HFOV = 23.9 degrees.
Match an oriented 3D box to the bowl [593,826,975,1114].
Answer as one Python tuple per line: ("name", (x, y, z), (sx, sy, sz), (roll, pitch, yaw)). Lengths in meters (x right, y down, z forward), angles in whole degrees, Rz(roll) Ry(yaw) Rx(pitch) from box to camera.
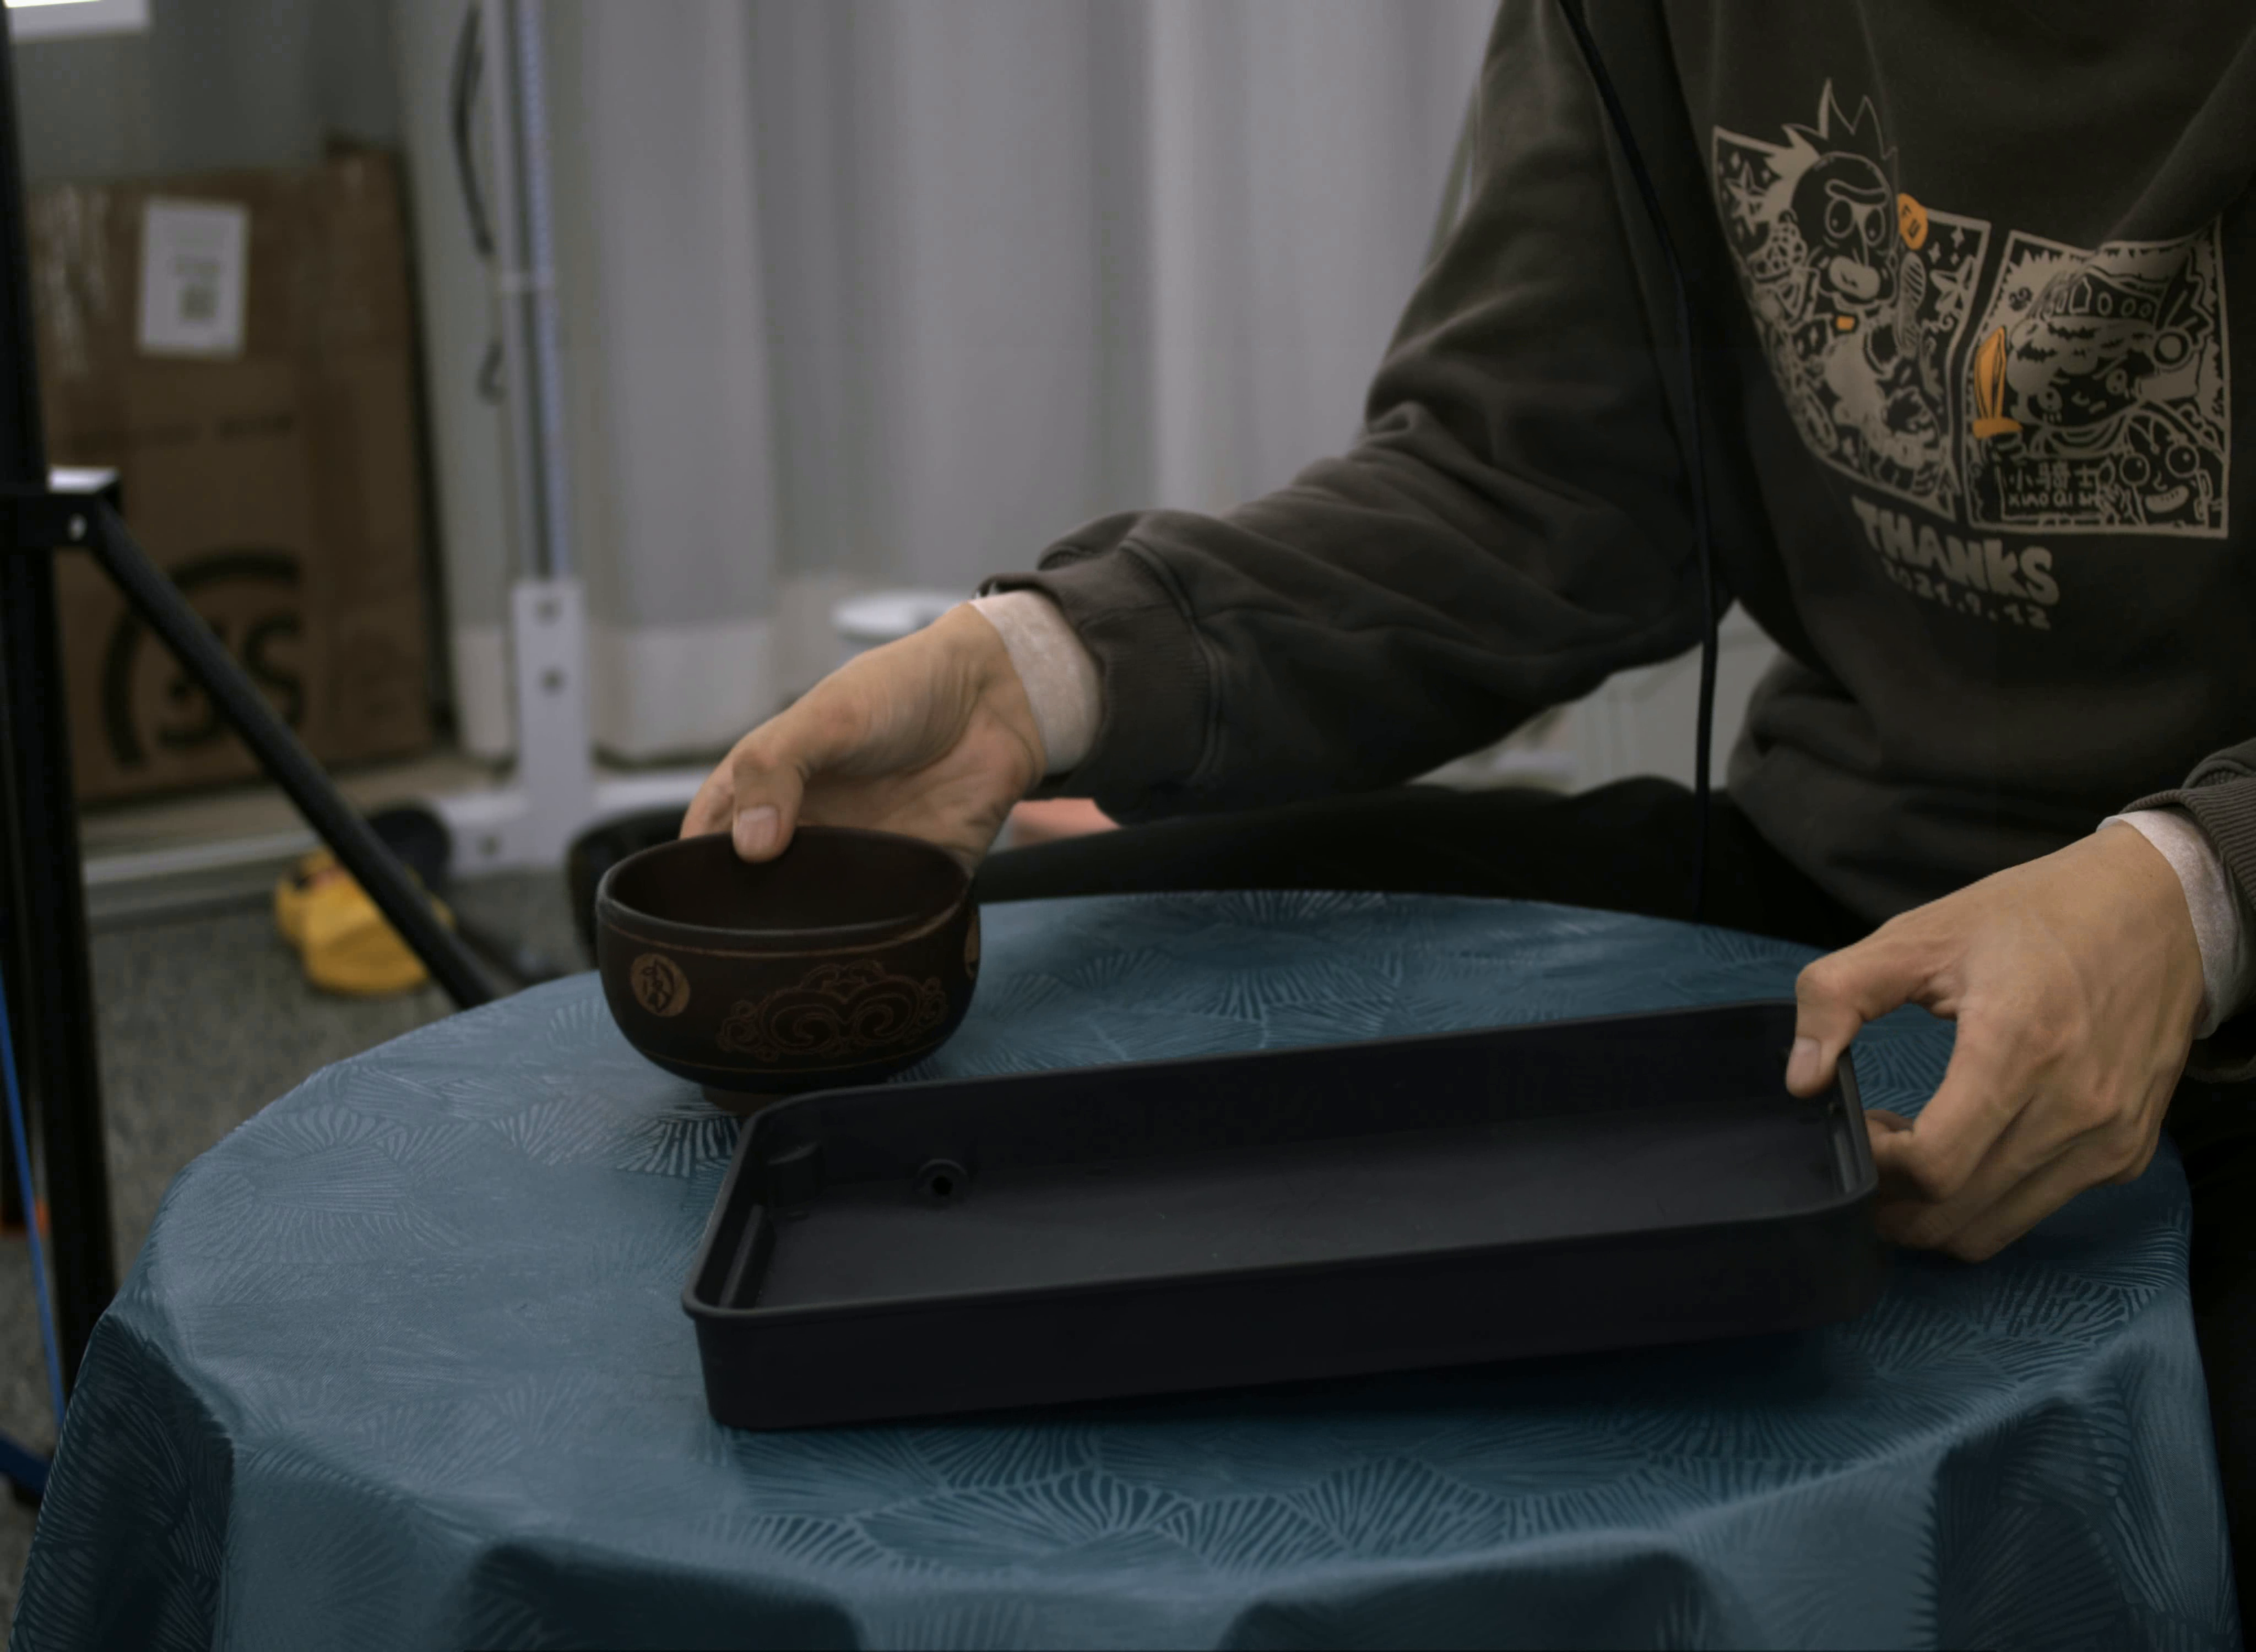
("bowl", (-0.105, 0.048, 1.642), (0.117, 0.070, 0.118), (0, 14, -1))

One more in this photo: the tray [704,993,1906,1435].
("tray", (0.049, 0.104, 1.457), (0.318, 0.037, 0.184), (-7, 15, 5))
